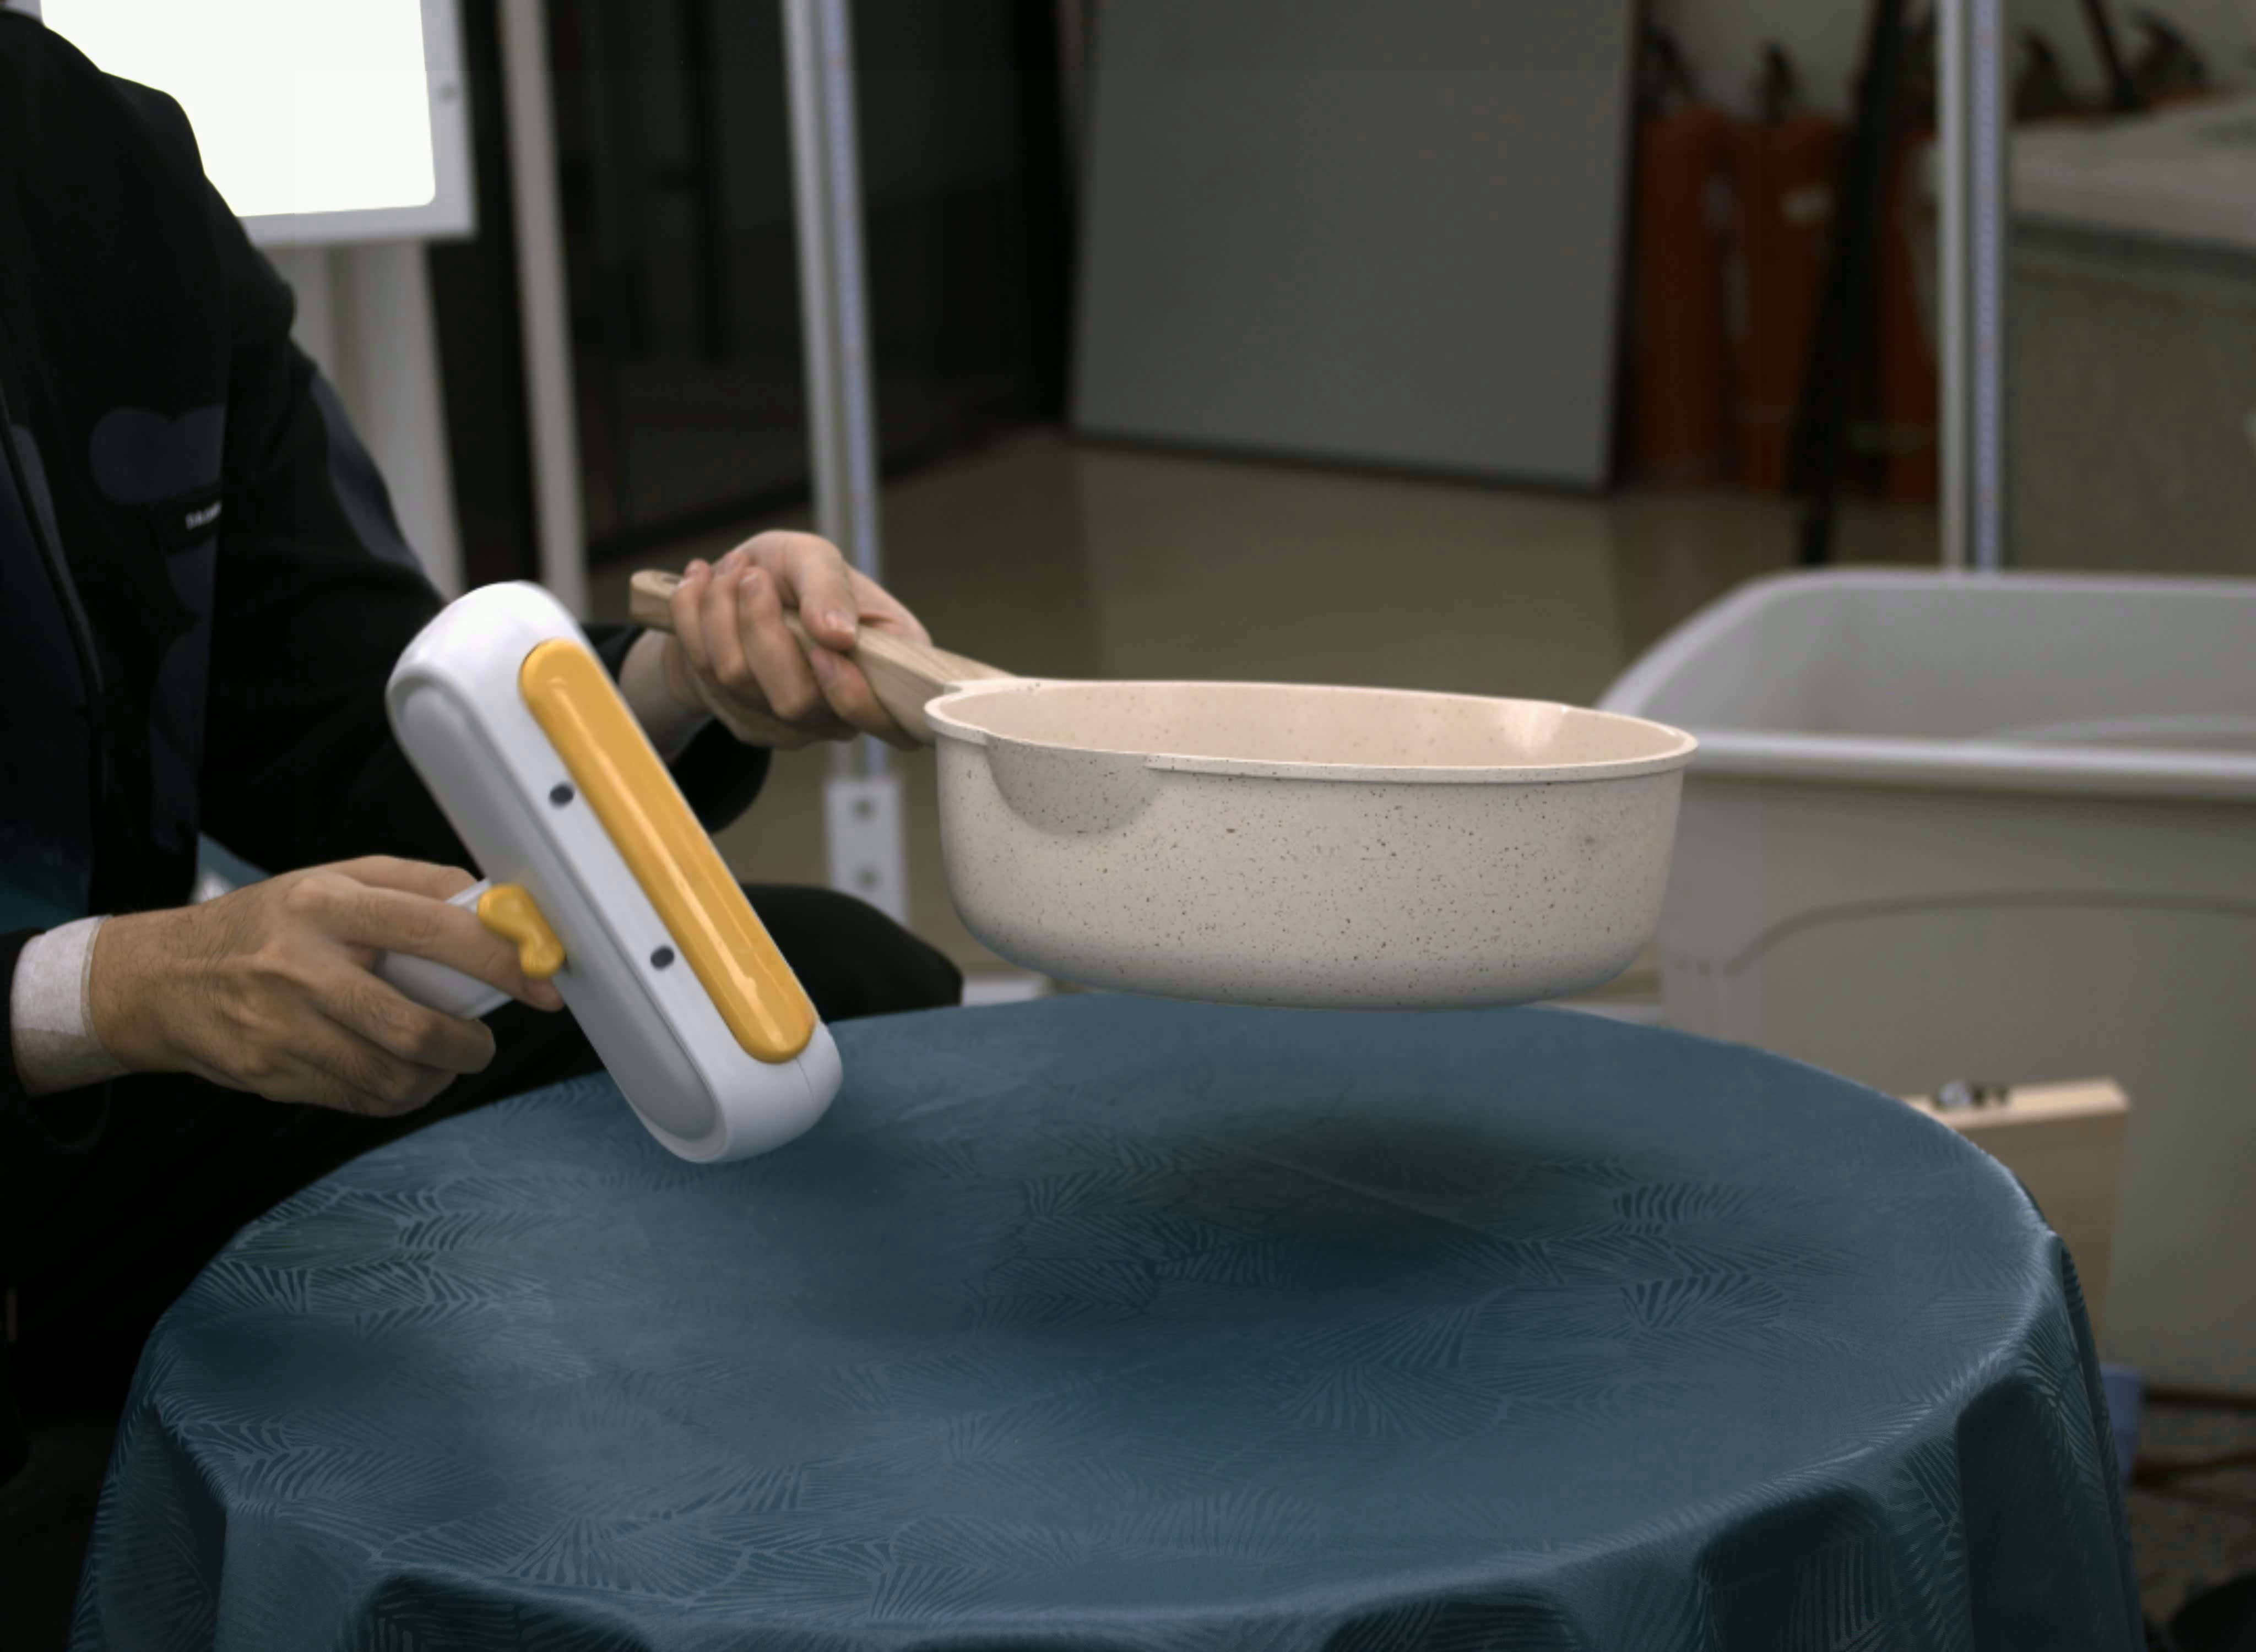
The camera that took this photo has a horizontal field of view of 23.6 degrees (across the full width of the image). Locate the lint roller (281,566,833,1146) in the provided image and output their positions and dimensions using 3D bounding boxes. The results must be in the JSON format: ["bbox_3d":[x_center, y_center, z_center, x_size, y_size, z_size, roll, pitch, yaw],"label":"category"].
[{"bbox_3d":[-0.196,0.033,1.669,0.073,0.193,0.194,-43,7,-39],"label":"lint roller"}]

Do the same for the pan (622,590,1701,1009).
[{"bbox_3d":[-0.010,-0.013,1.800,0.438,0.103,0.258,7,10,41],"label":"pan"}]
